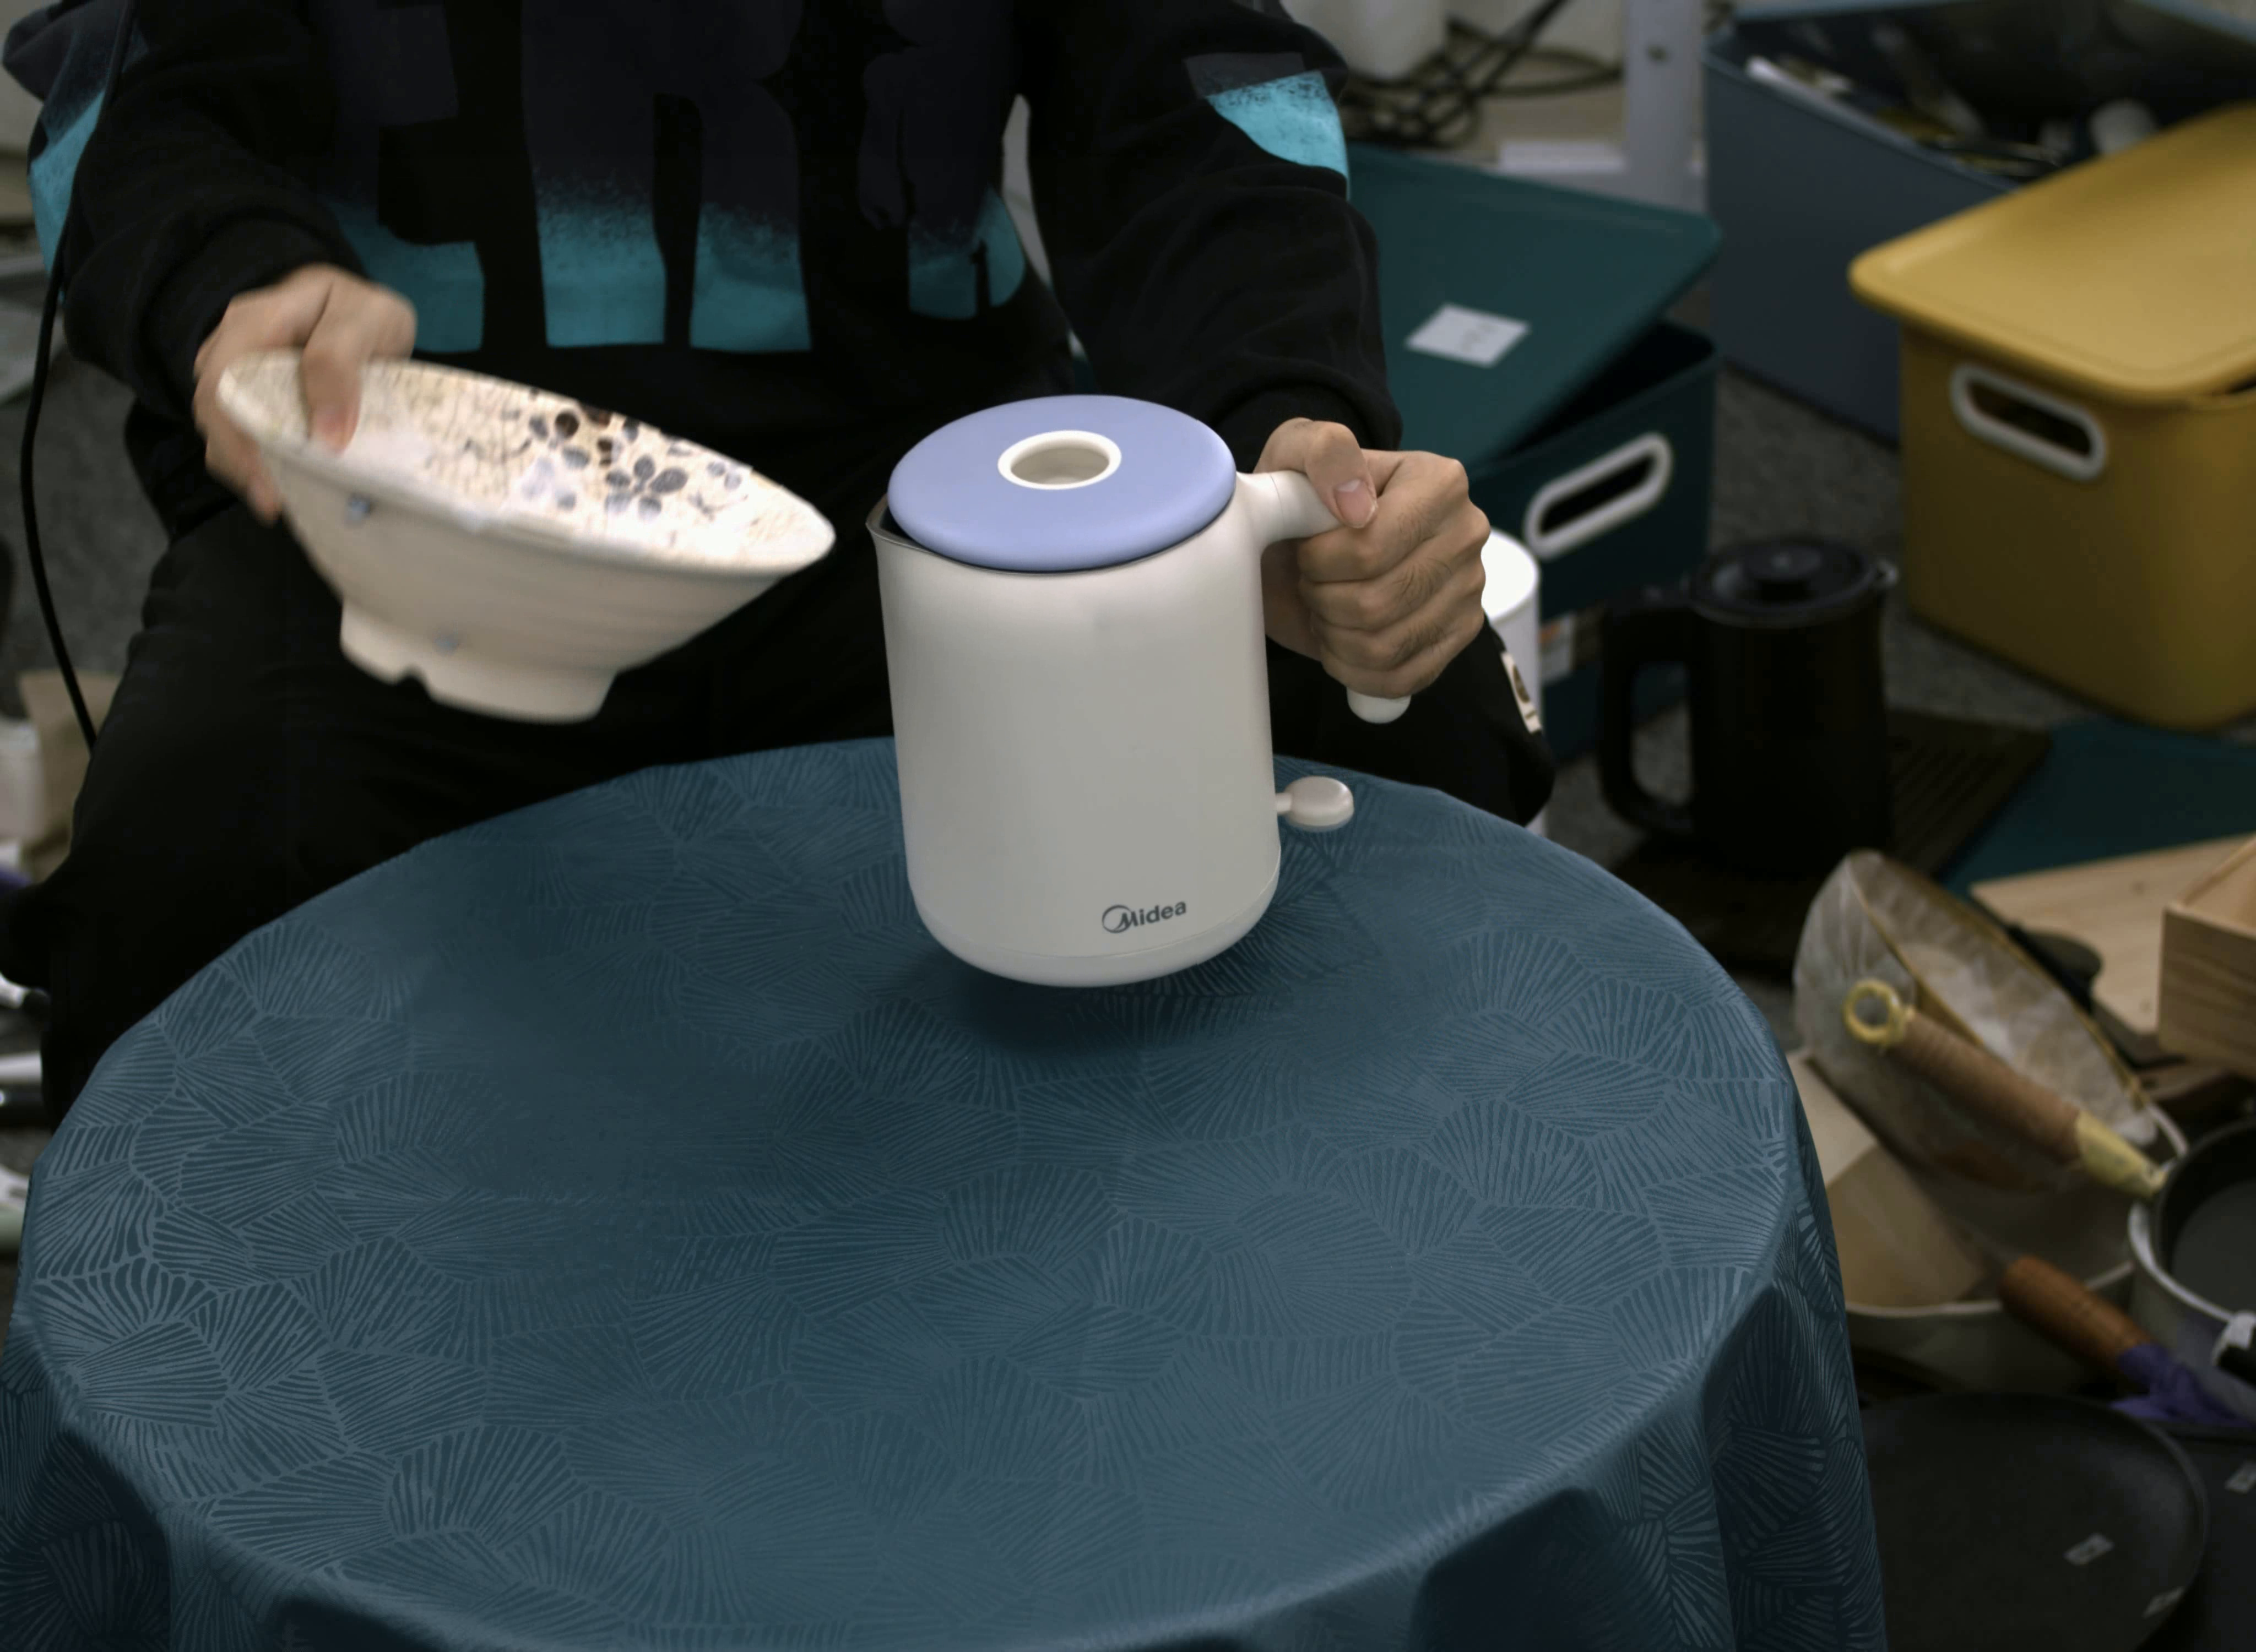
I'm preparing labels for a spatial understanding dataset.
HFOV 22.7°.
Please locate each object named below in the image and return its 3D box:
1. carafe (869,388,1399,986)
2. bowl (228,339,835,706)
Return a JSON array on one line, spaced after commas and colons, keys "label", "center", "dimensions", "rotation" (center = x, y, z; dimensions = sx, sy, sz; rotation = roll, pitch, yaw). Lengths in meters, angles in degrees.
[{"label": "carafe", "center": [0.005, -0.053, 1.947], "dimensions": [0.191, 0.180, 0.133], "rotation": [-11, 32, -16]}, {"label": "bowl", "center": [-0.201, -0.089, 1.817], "dimensions": [0.203, 0.078, 0.205], "rotation": [17, 8, -2]}]
